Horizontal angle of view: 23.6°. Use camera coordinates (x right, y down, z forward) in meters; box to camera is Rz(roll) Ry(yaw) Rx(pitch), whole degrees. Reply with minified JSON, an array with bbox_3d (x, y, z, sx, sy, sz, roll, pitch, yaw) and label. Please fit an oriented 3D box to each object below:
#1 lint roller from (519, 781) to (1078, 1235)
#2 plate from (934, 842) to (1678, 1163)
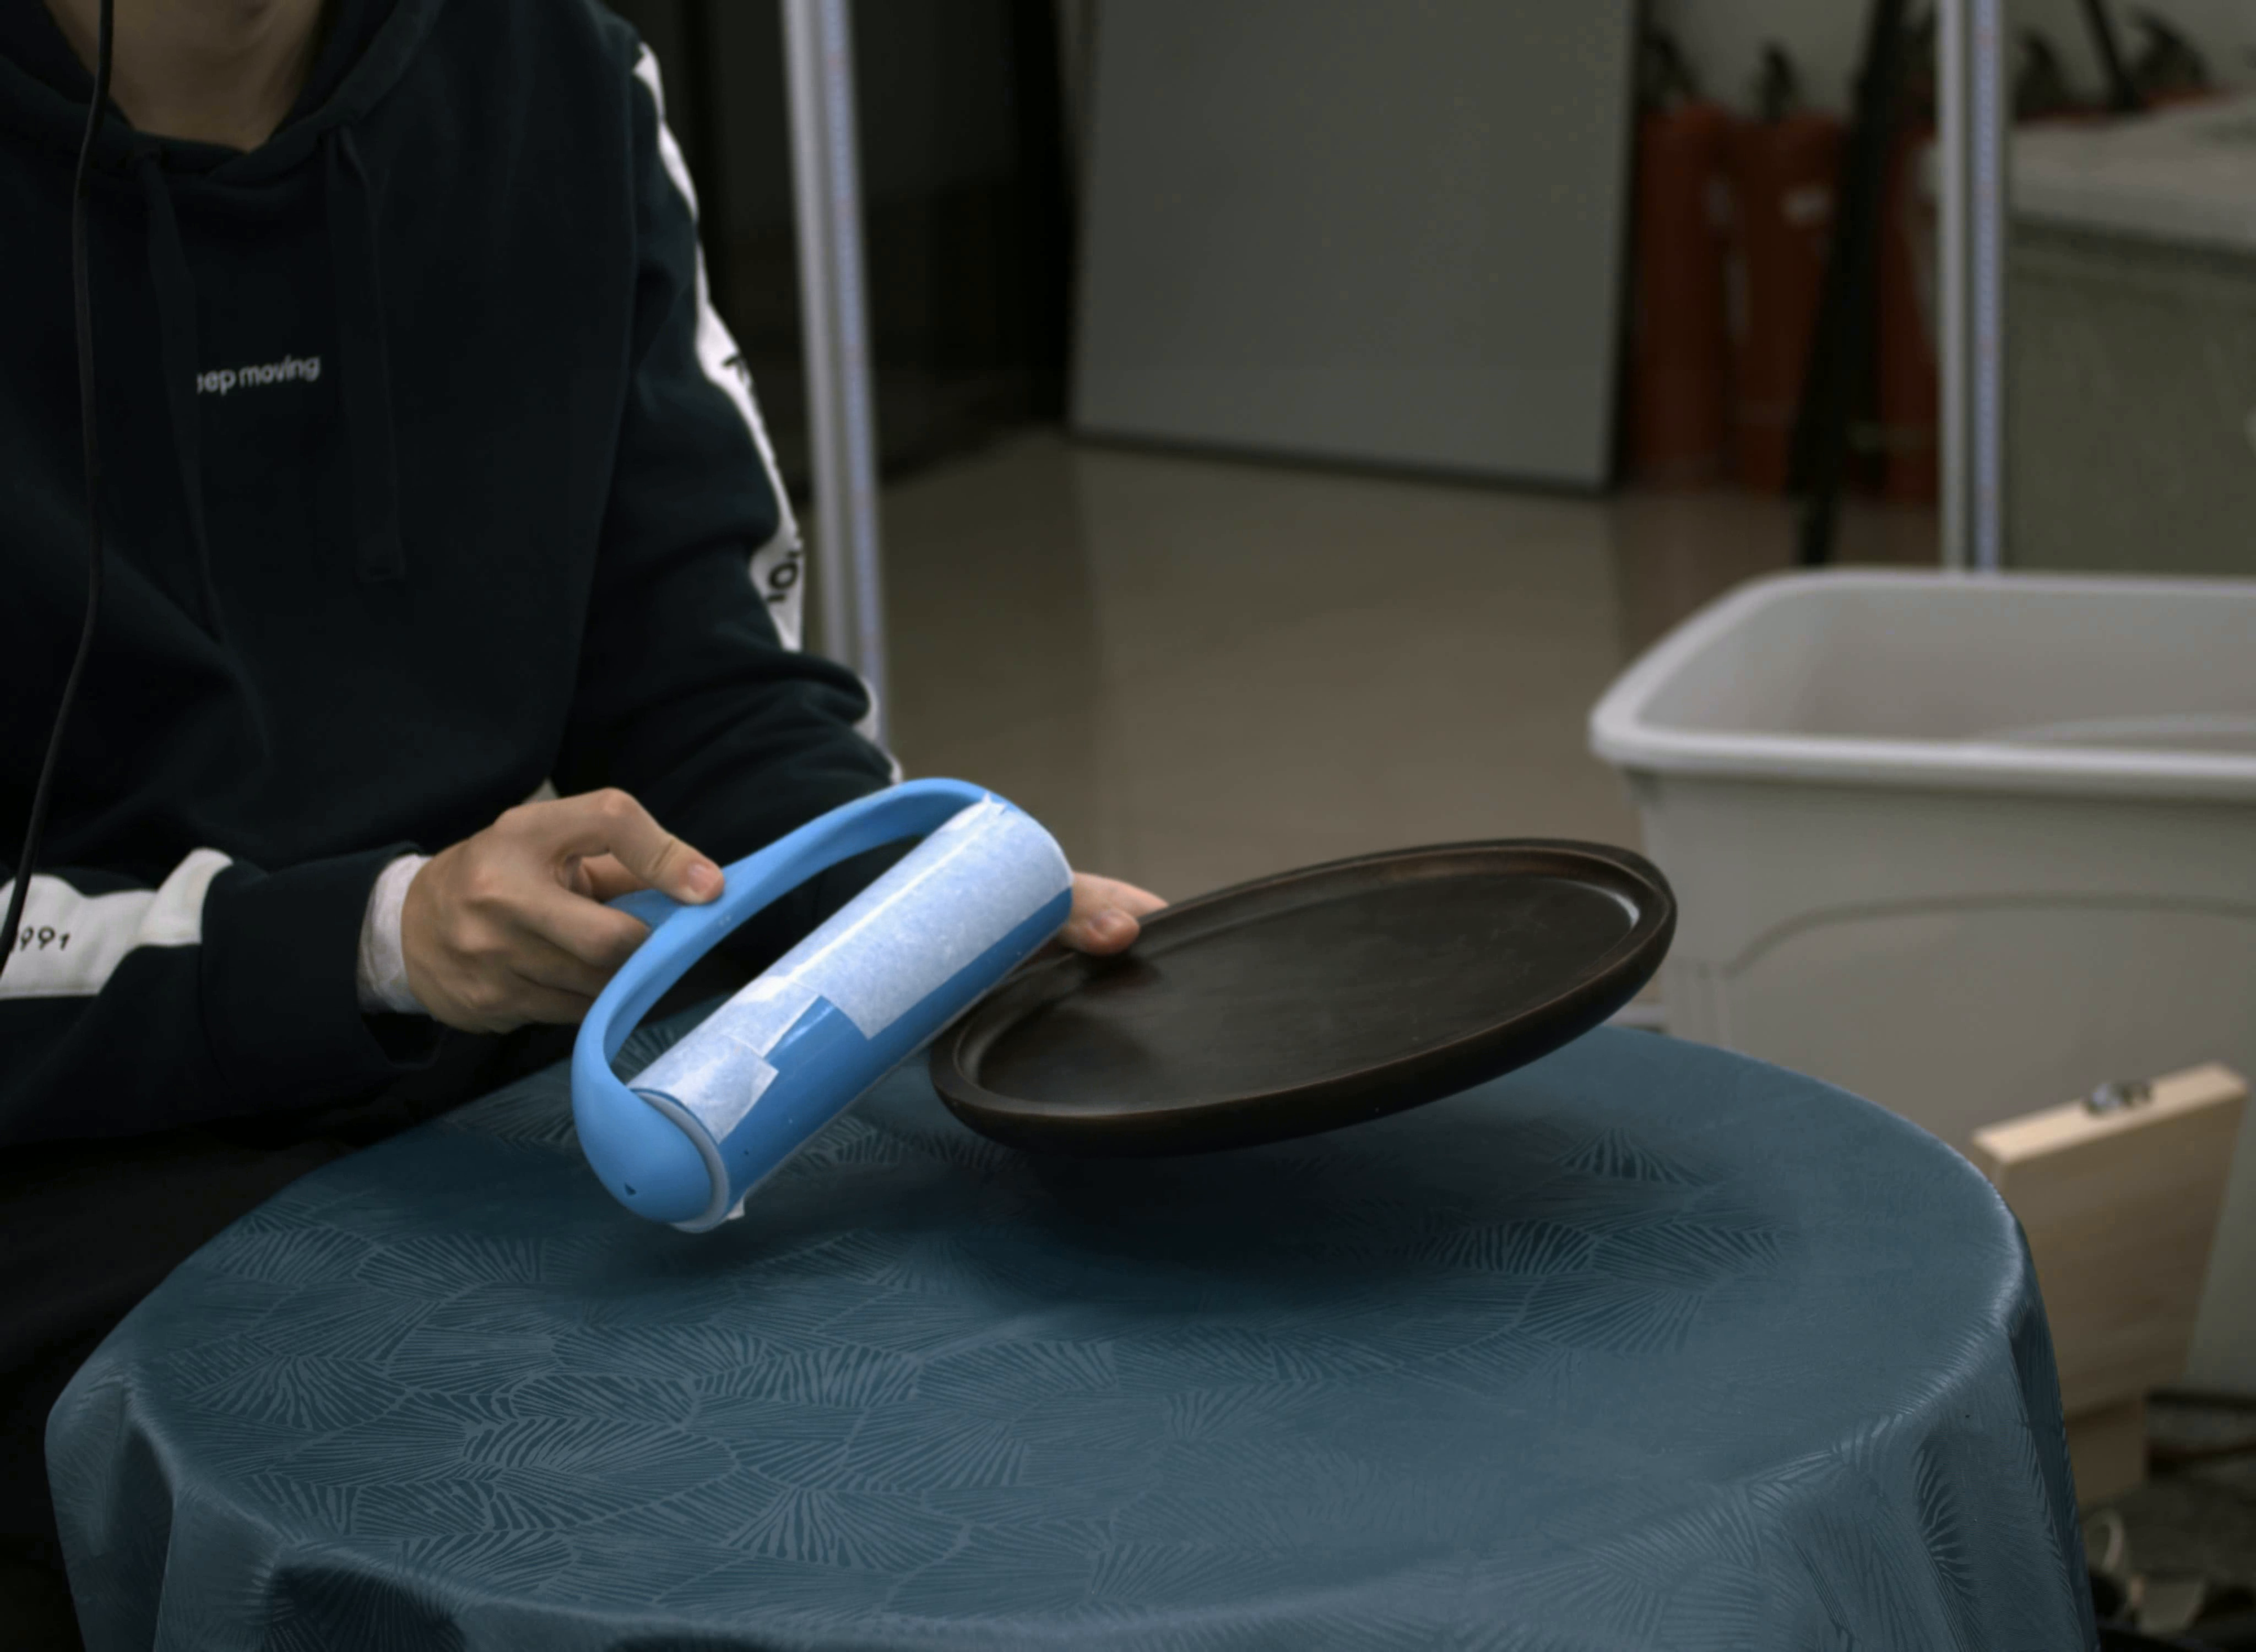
[{"bbox_3d":[-0.140,0.053,1.806,0.181,0.068,0.226,8,34,33],"label":"lint roller"},{"bbox_3d":[0.059,0.056,1.756,0.252,0.029,0.255,-14,13,2],"label":"plate"}]
